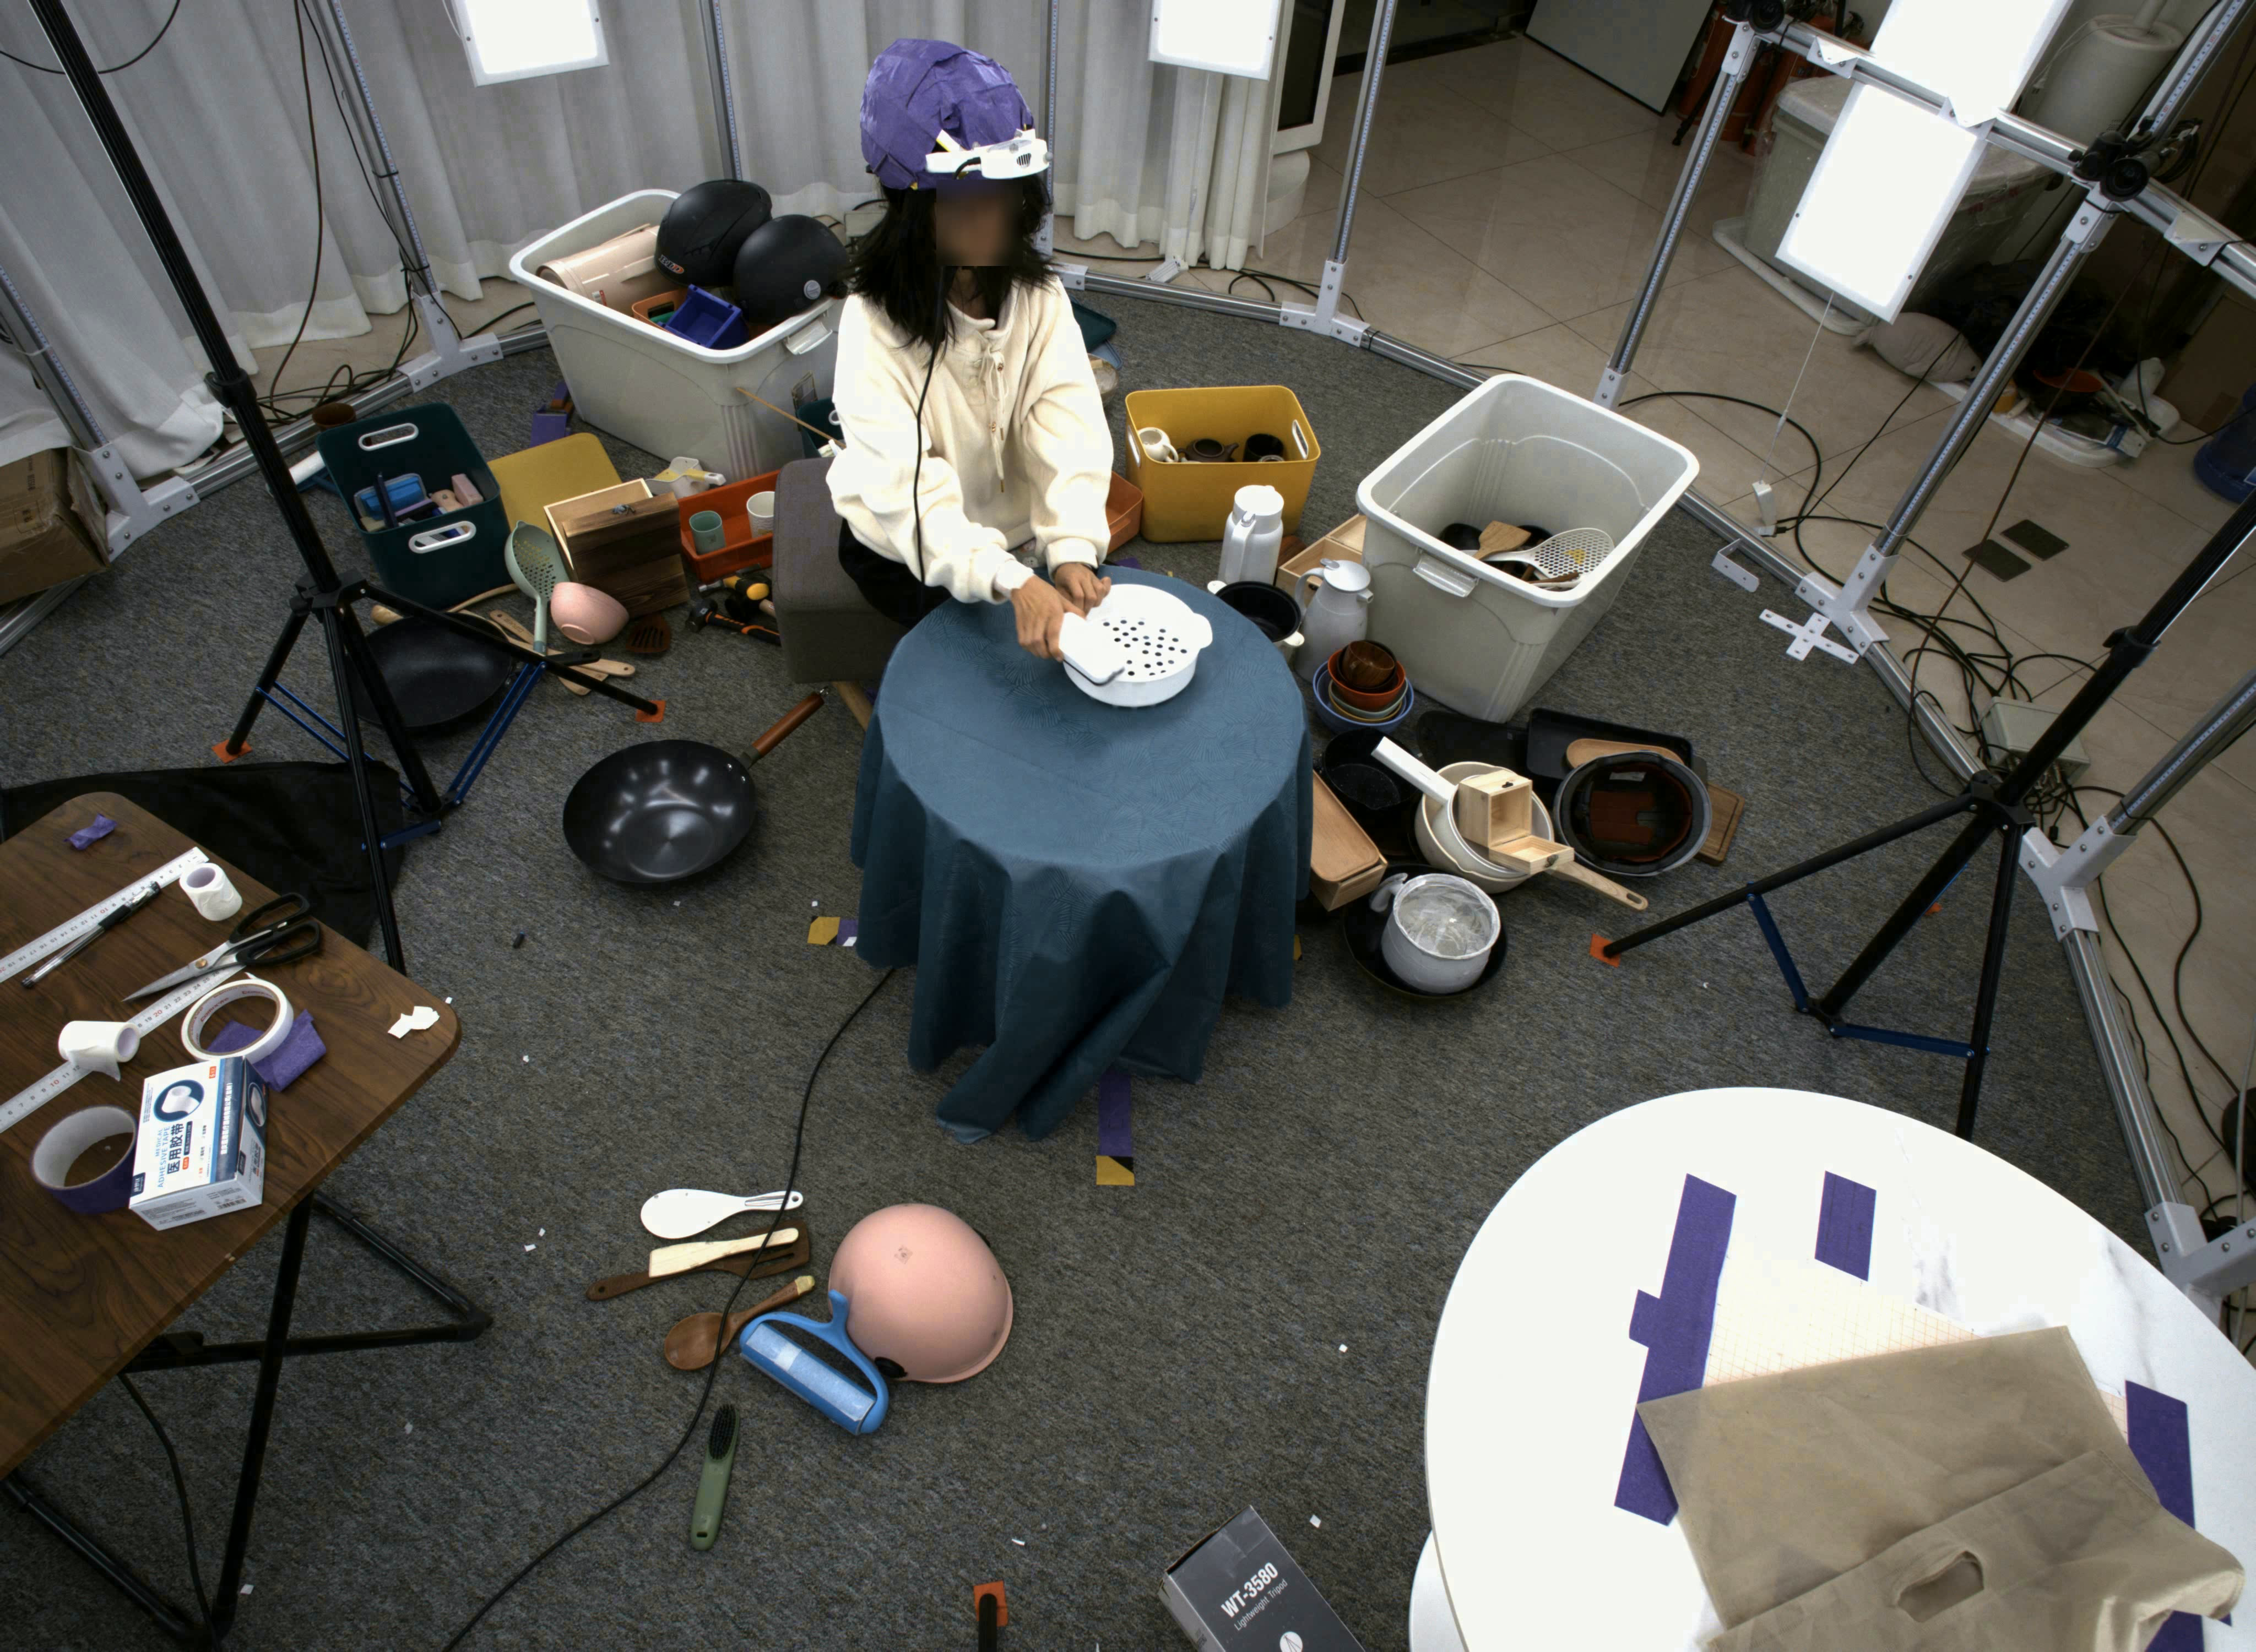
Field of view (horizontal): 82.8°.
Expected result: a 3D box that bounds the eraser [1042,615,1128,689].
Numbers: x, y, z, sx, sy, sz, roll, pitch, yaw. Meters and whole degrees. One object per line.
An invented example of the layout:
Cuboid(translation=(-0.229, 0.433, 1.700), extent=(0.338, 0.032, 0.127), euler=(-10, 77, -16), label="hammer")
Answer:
Cuboid(translation=(-0.058, -0.243, 1.770), extent=(0.064, 0.034, 0.133), euler=(-36, 59, -21), label="eraser")

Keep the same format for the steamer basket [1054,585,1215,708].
Cuboid(translation=(0.008, -0.259, 1.852), extent=(0.230, 0.067, 0.207), euler=(-2, 49, -7), label="steamer basket")
